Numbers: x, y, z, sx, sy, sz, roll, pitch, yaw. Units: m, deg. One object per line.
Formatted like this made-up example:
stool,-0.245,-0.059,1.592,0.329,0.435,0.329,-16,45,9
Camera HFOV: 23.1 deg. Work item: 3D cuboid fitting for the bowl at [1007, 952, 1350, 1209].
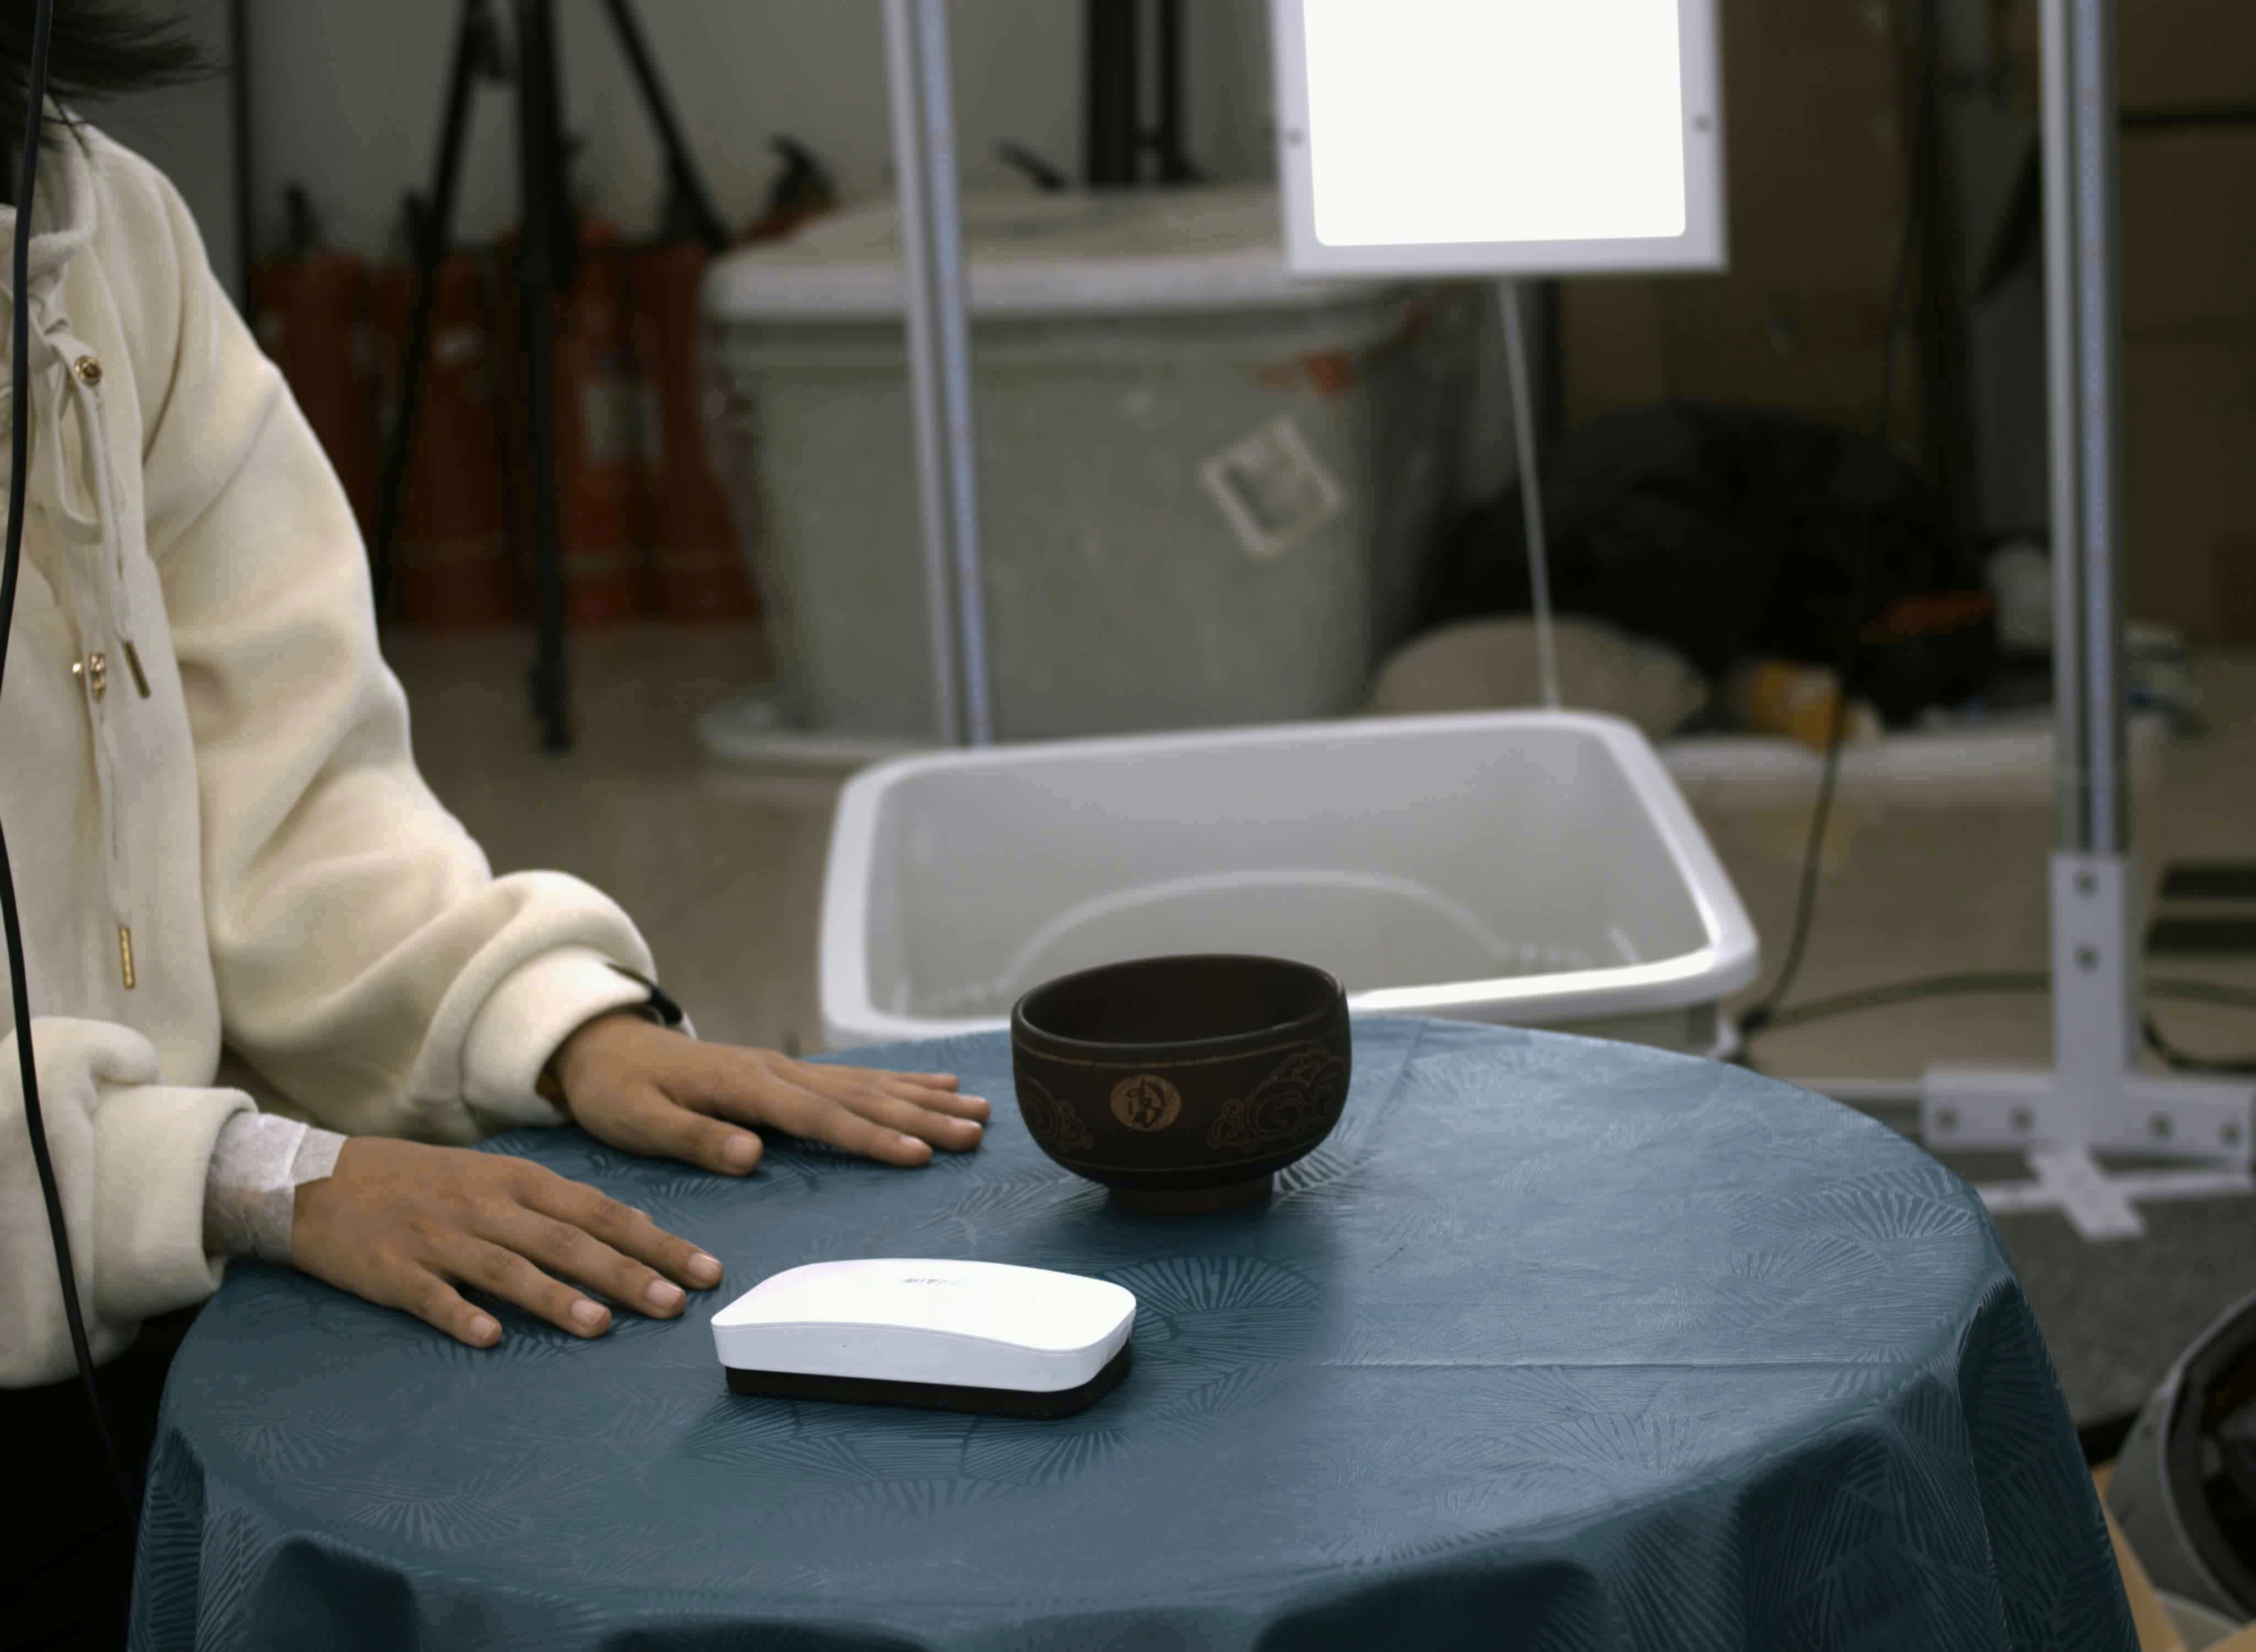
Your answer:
bowl,0.019,0.090,1.887,0.118,0.070,0.118,-5,12,0

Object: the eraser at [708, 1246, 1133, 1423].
eraser,-0.064,0.159,1.727,0.133,0.034,0.062,2,16,26
